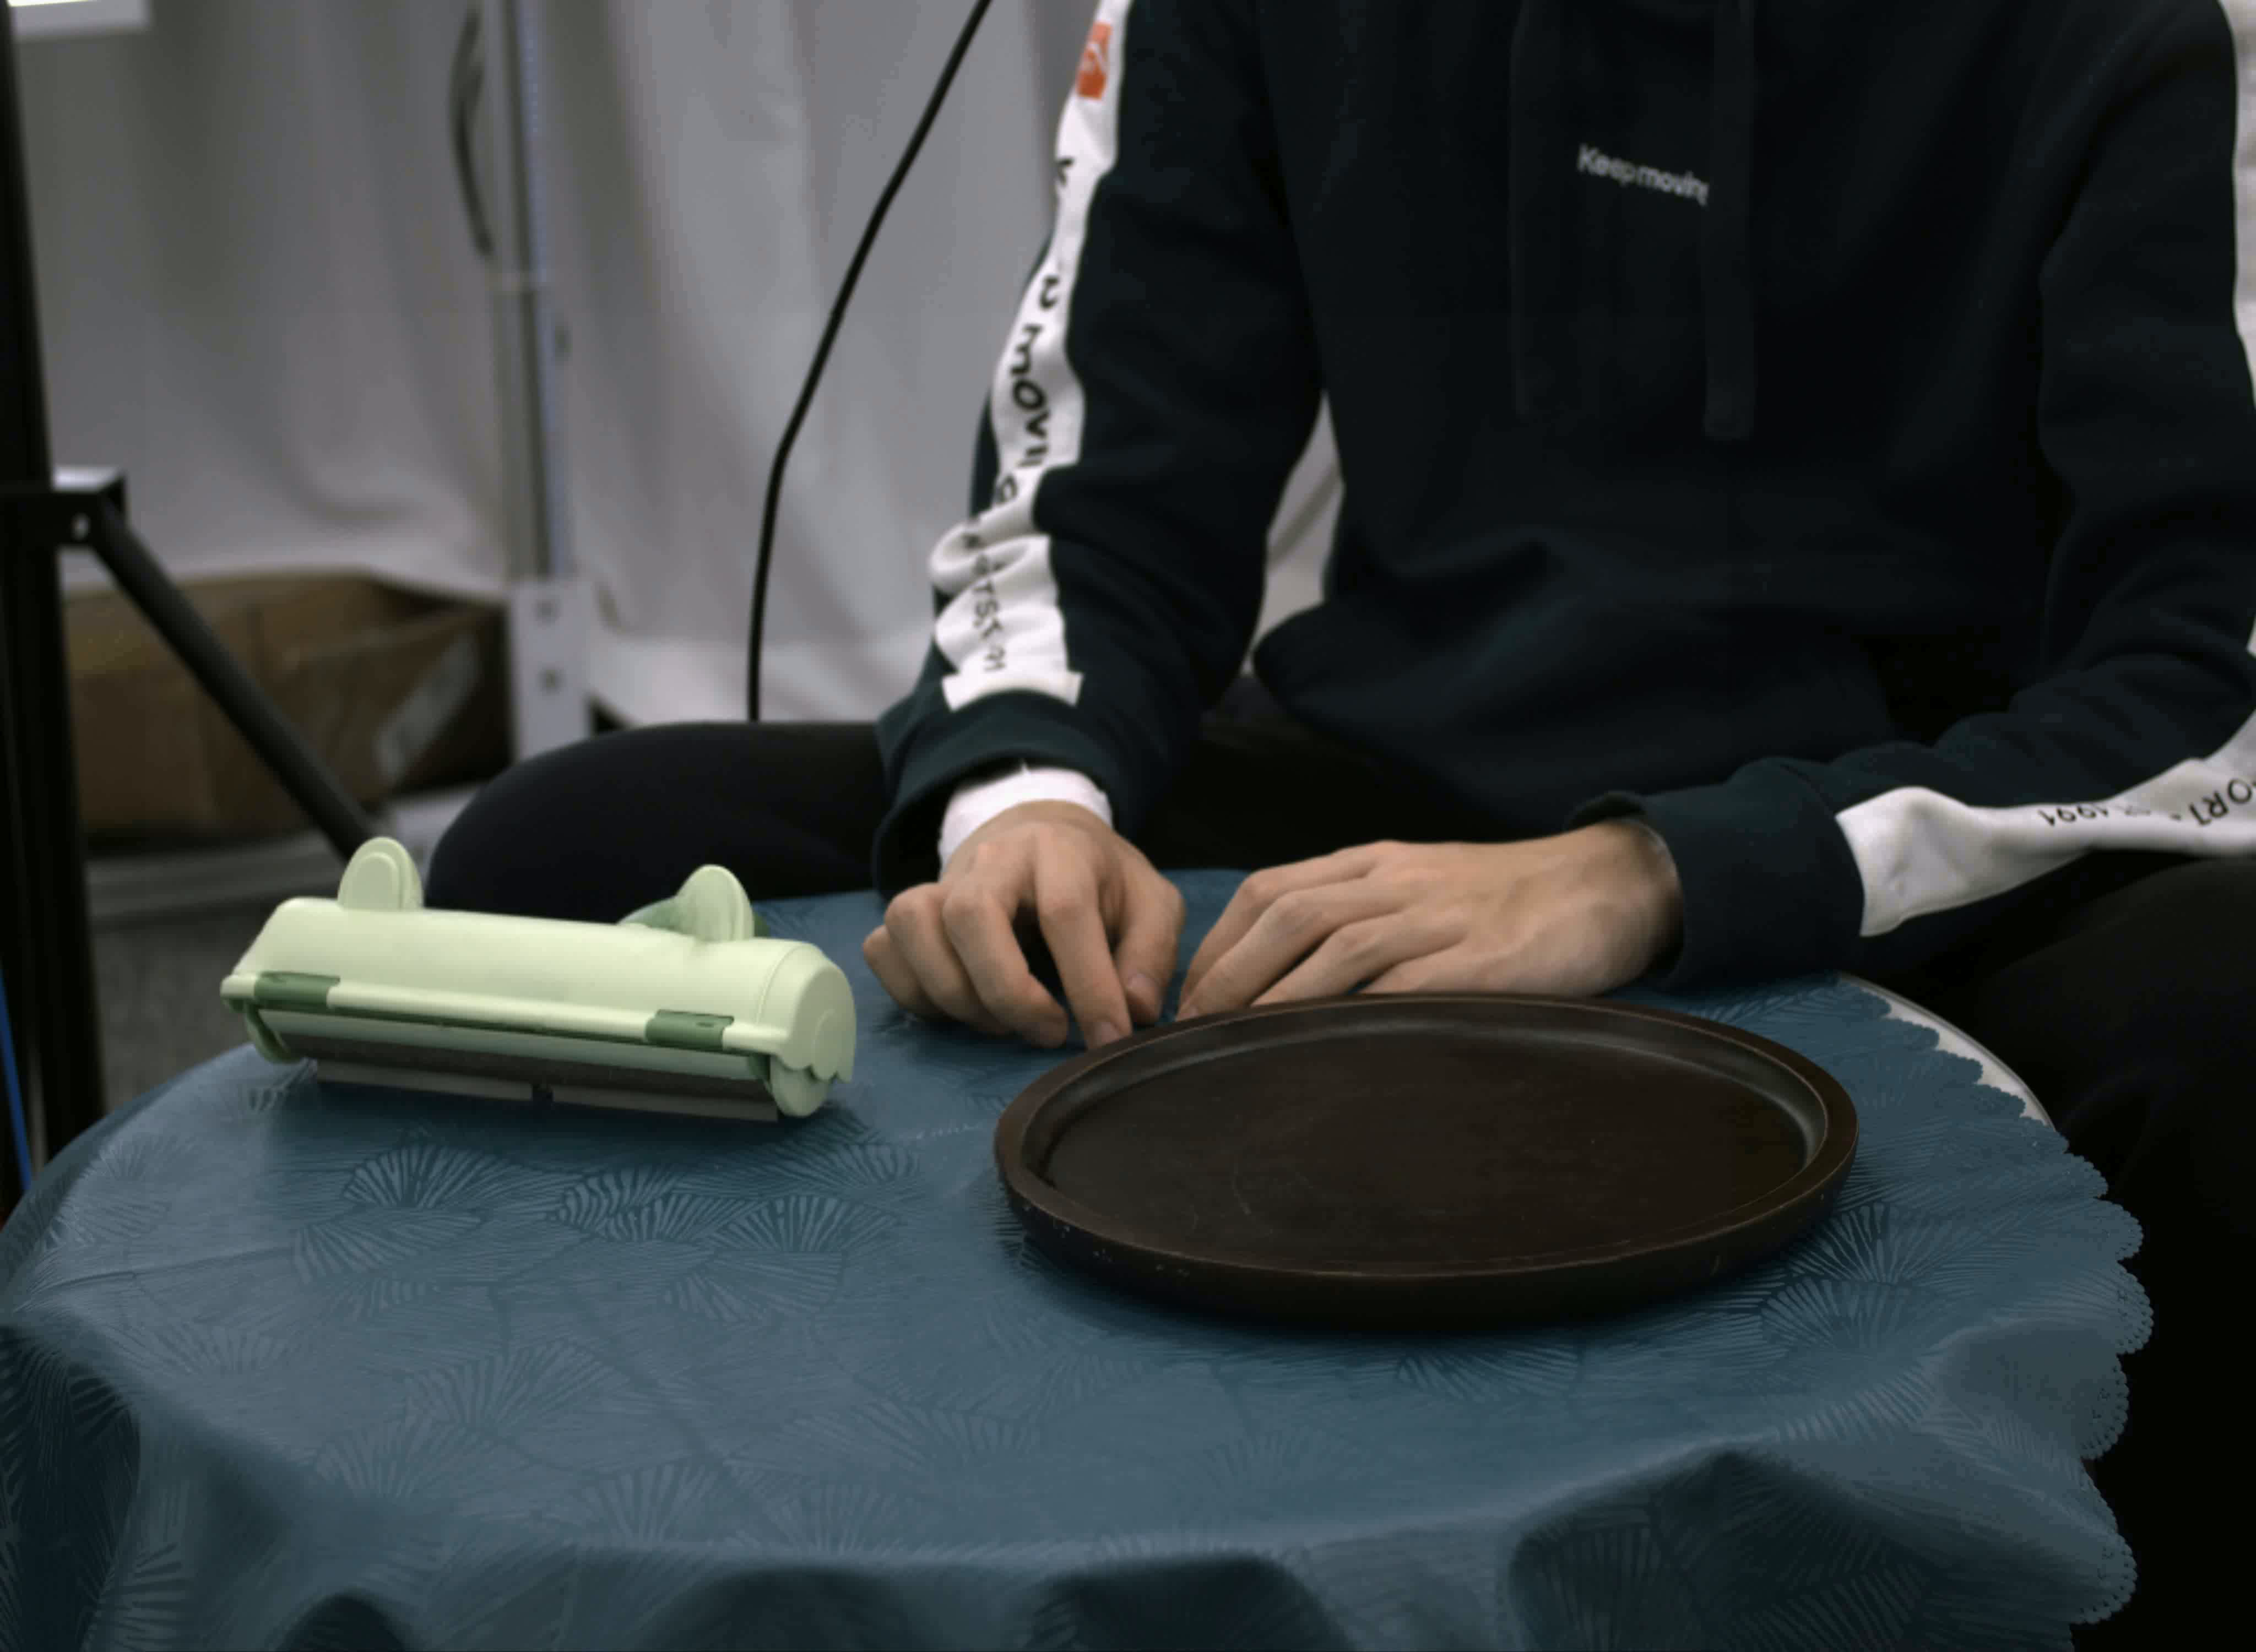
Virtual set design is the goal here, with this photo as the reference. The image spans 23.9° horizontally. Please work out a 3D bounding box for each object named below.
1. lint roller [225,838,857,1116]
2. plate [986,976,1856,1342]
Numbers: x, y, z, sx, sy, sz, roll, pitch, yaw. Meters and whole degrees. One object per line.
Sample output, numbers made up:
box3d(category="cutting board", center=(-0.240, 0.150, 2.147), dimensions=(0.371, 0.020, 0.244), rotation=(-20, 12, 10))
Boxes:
box3d(category="lint roller", center=(-0.162, 0.032, 1.708), dimensions=(0.201, 0.082, 0.181), rotation=(4, 21, 23))
box3d(category="plate", center=(0.085, 0.097, 1.540), dimensions=(0.253, 0.029, 0.256), rotation=(-4, 16, 0))
